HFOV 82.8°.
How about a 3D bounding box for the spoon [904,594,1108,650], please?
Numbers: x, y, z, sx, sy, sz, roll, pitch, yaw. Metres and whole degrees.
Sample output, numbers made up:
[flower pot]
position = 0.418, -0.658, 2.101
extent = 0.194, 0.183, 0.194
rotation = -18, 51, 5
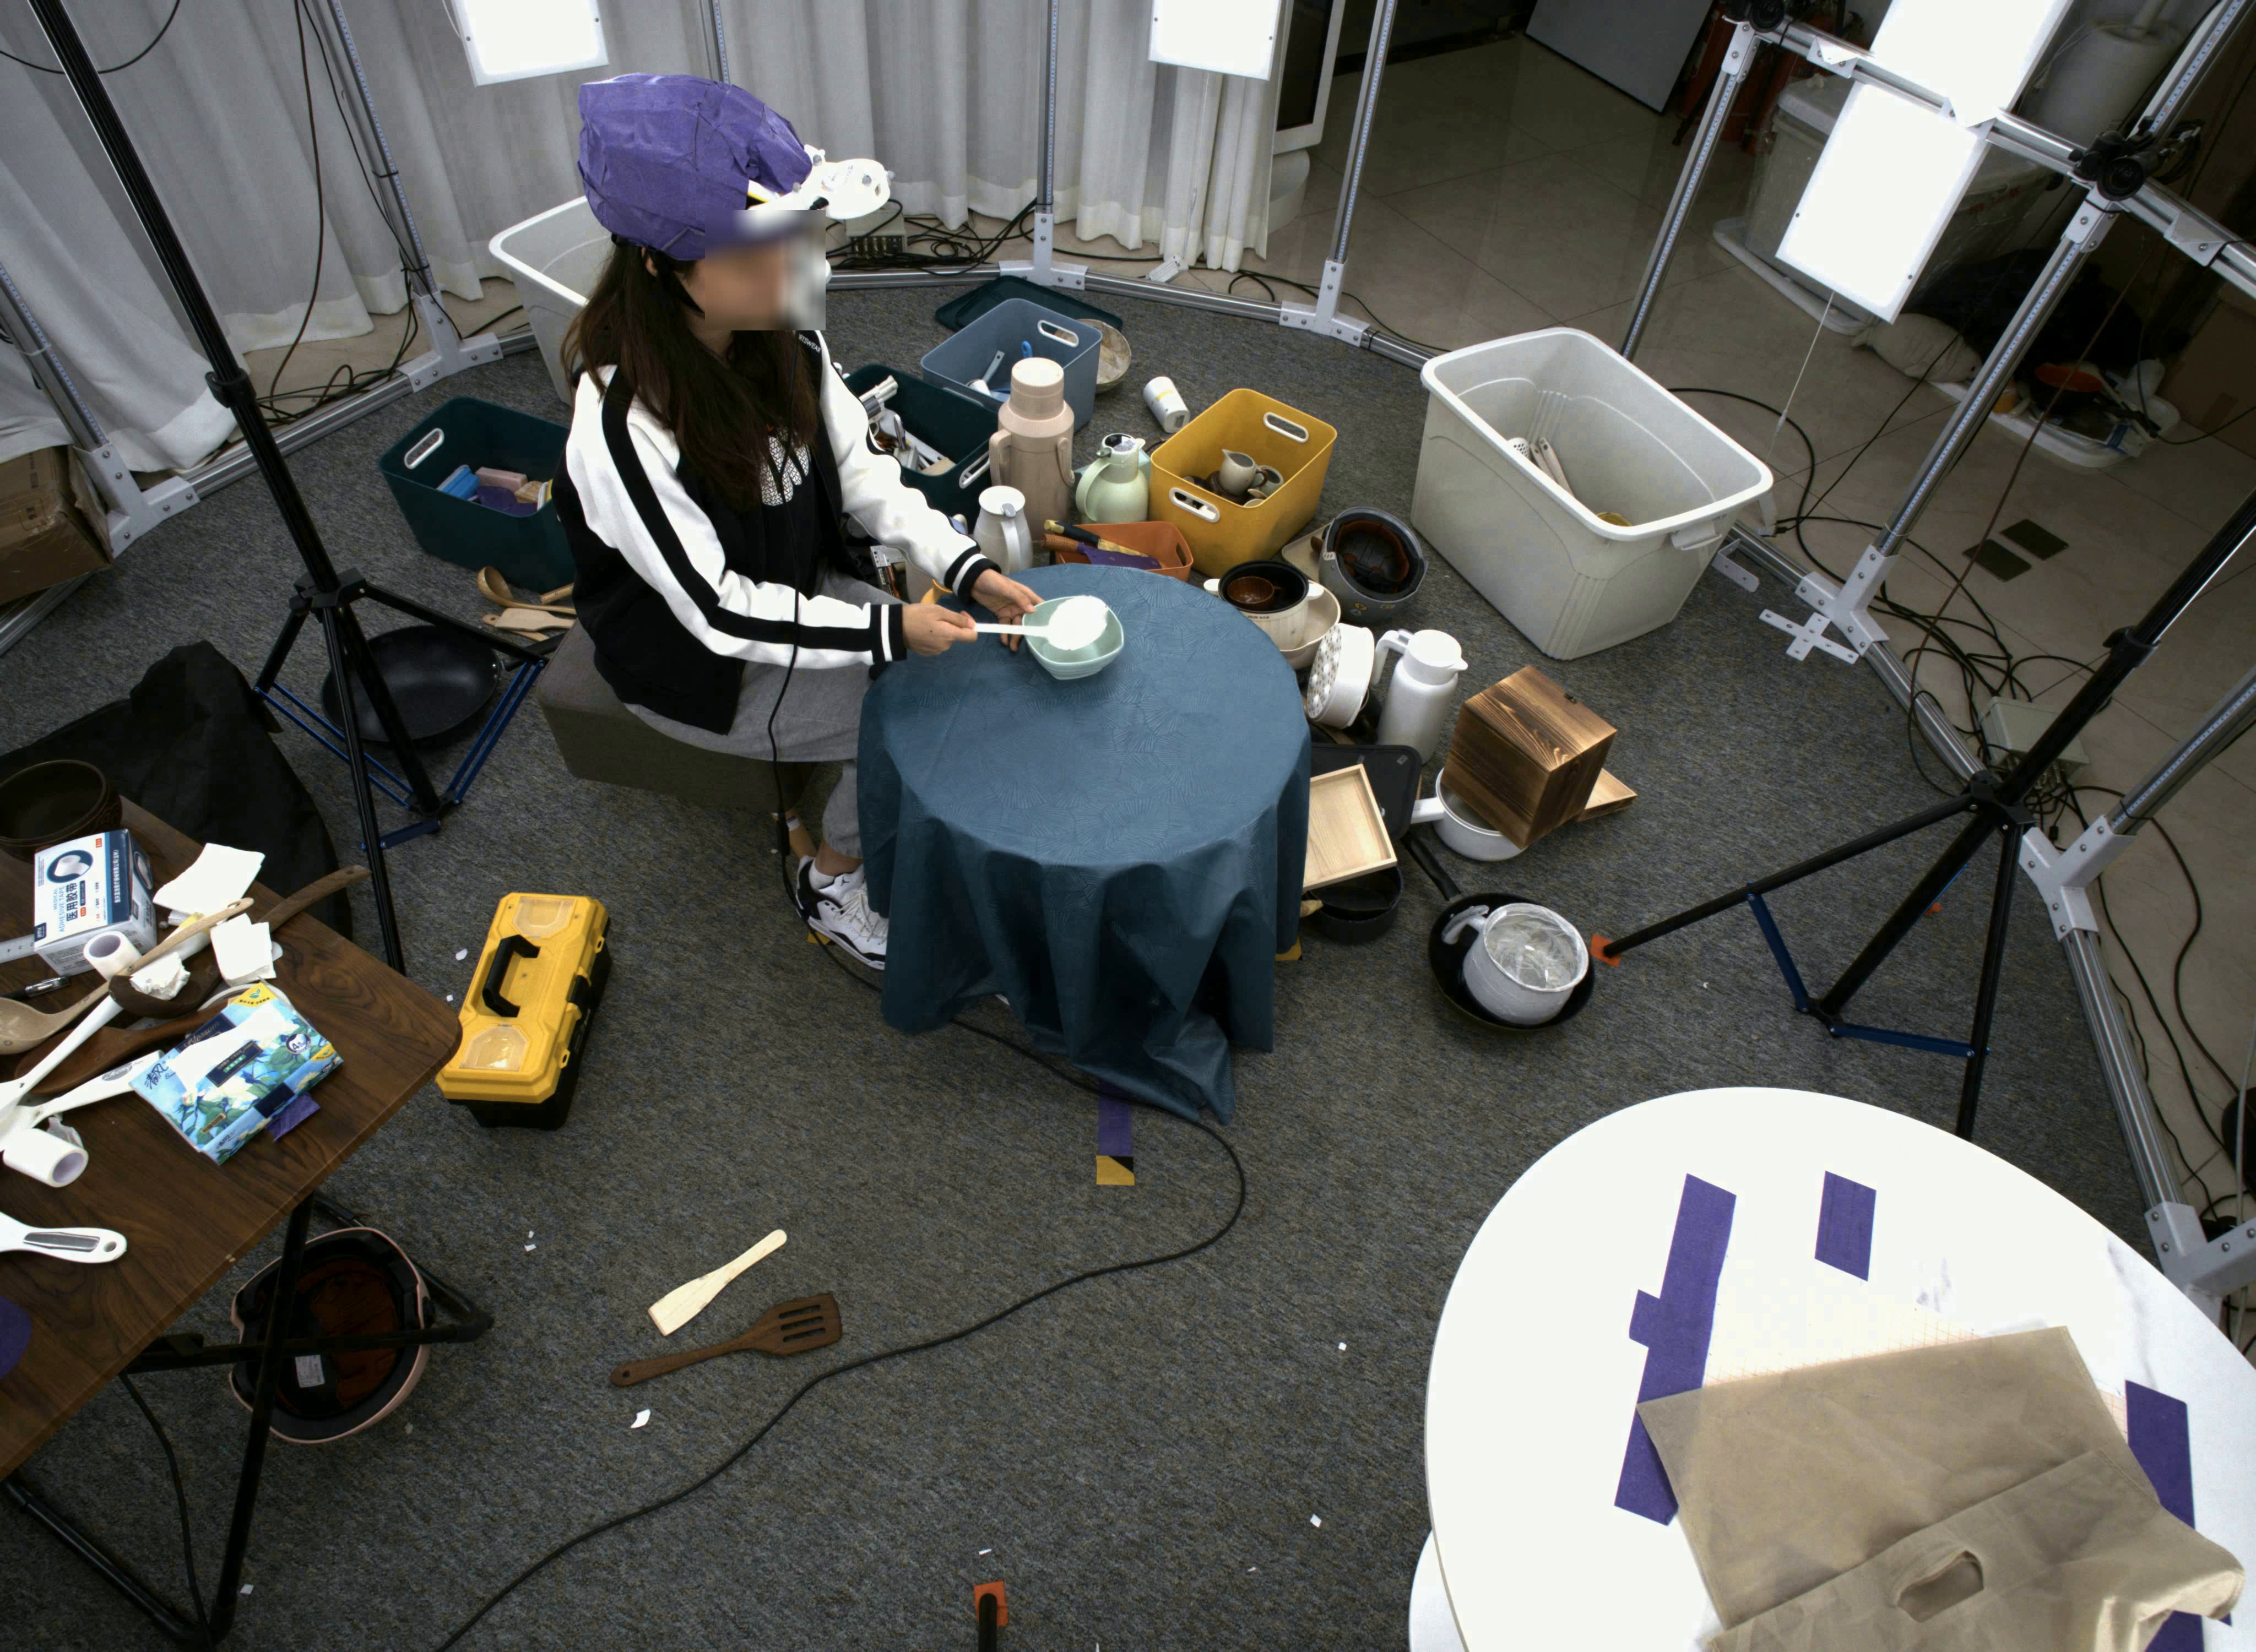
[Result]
[spoon]
position = -0.169, -0.298, 1.794
extent = 0.276, 0.058, 0.103
rotation = 6, 48, -9

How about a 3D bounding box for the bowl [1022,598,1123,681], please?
[bowl]
position = -0.081, -0.262, 1.857
extent = 0.151, 0.057, 0.155
rotation = 2, 49, -3
